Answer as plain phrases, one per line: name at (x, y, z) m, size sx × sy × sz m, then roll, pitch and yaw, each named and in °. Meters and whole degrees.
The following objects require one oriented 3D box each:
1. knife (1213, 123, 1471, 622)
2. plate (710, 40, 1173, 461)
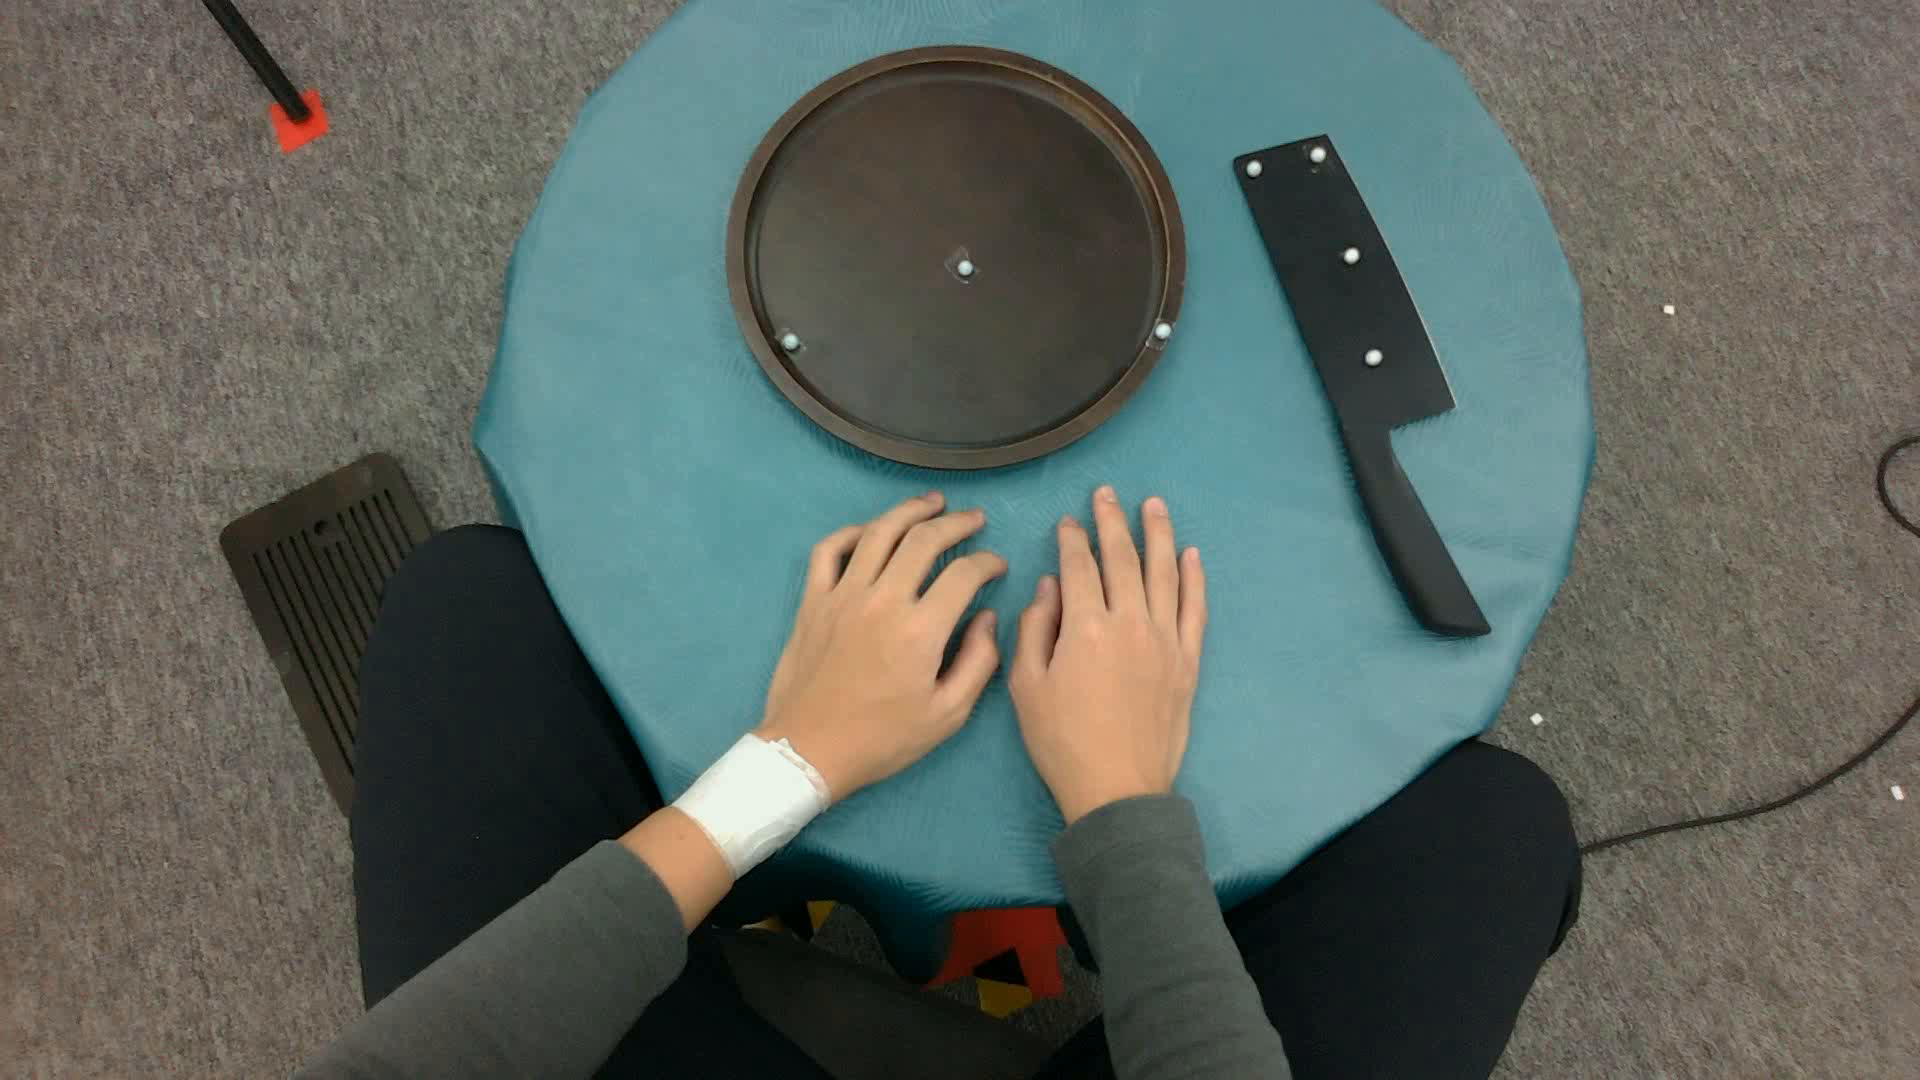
knife at (0.217, -0.098, 0.758) m, size 0.081 × 0.021 × 0.303 m, roll -12°, pitch 74°, yaw -7°
plate at (-0.010, -0.162, 0.760) m, size 0.255 × 0.029 × 0.255 m, roll 1°, pitch 75°, yaw -4°
